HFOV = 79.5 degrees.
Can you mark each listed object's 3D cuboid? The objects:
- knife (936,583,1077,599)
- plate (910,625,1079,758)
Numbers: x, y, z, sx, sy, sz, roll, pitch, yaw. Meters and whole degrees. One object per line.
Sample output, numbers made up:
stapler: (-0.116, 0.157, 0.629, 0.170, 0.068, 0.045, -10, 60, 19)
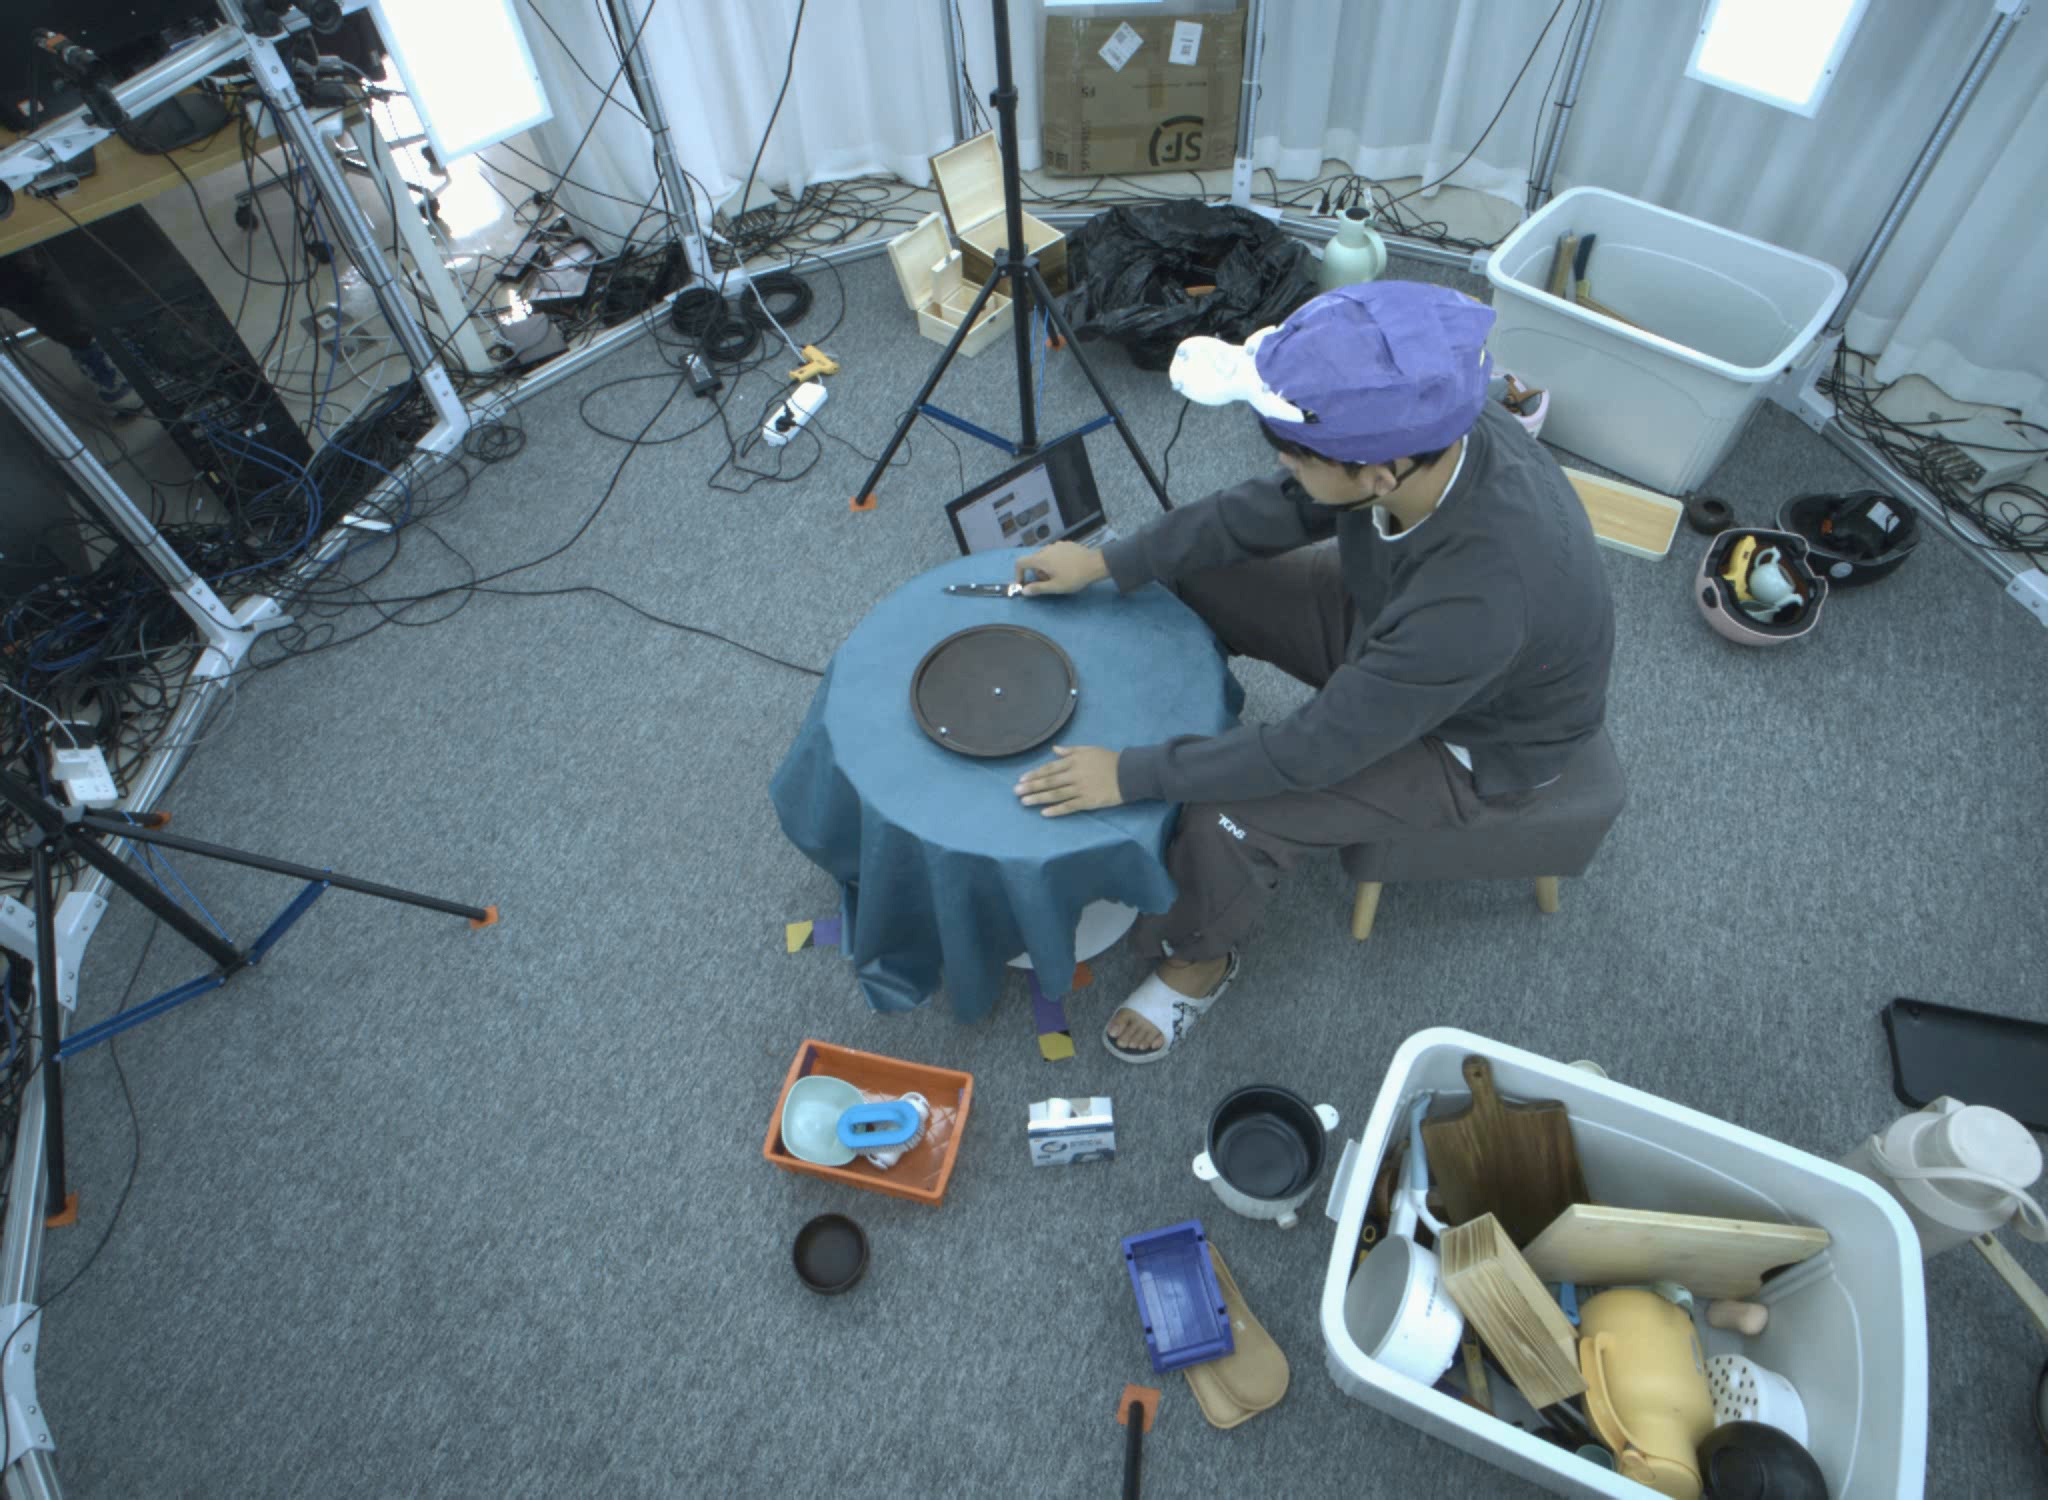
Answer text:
knife: (-0.029, -0.254, 1.961, 0.225, 0.017, 0.026, 1, 65, 2)
plate: (-0.045, -0.089, 1.838, 0.255, 0.029, 0.252, 1, 54, 0)
